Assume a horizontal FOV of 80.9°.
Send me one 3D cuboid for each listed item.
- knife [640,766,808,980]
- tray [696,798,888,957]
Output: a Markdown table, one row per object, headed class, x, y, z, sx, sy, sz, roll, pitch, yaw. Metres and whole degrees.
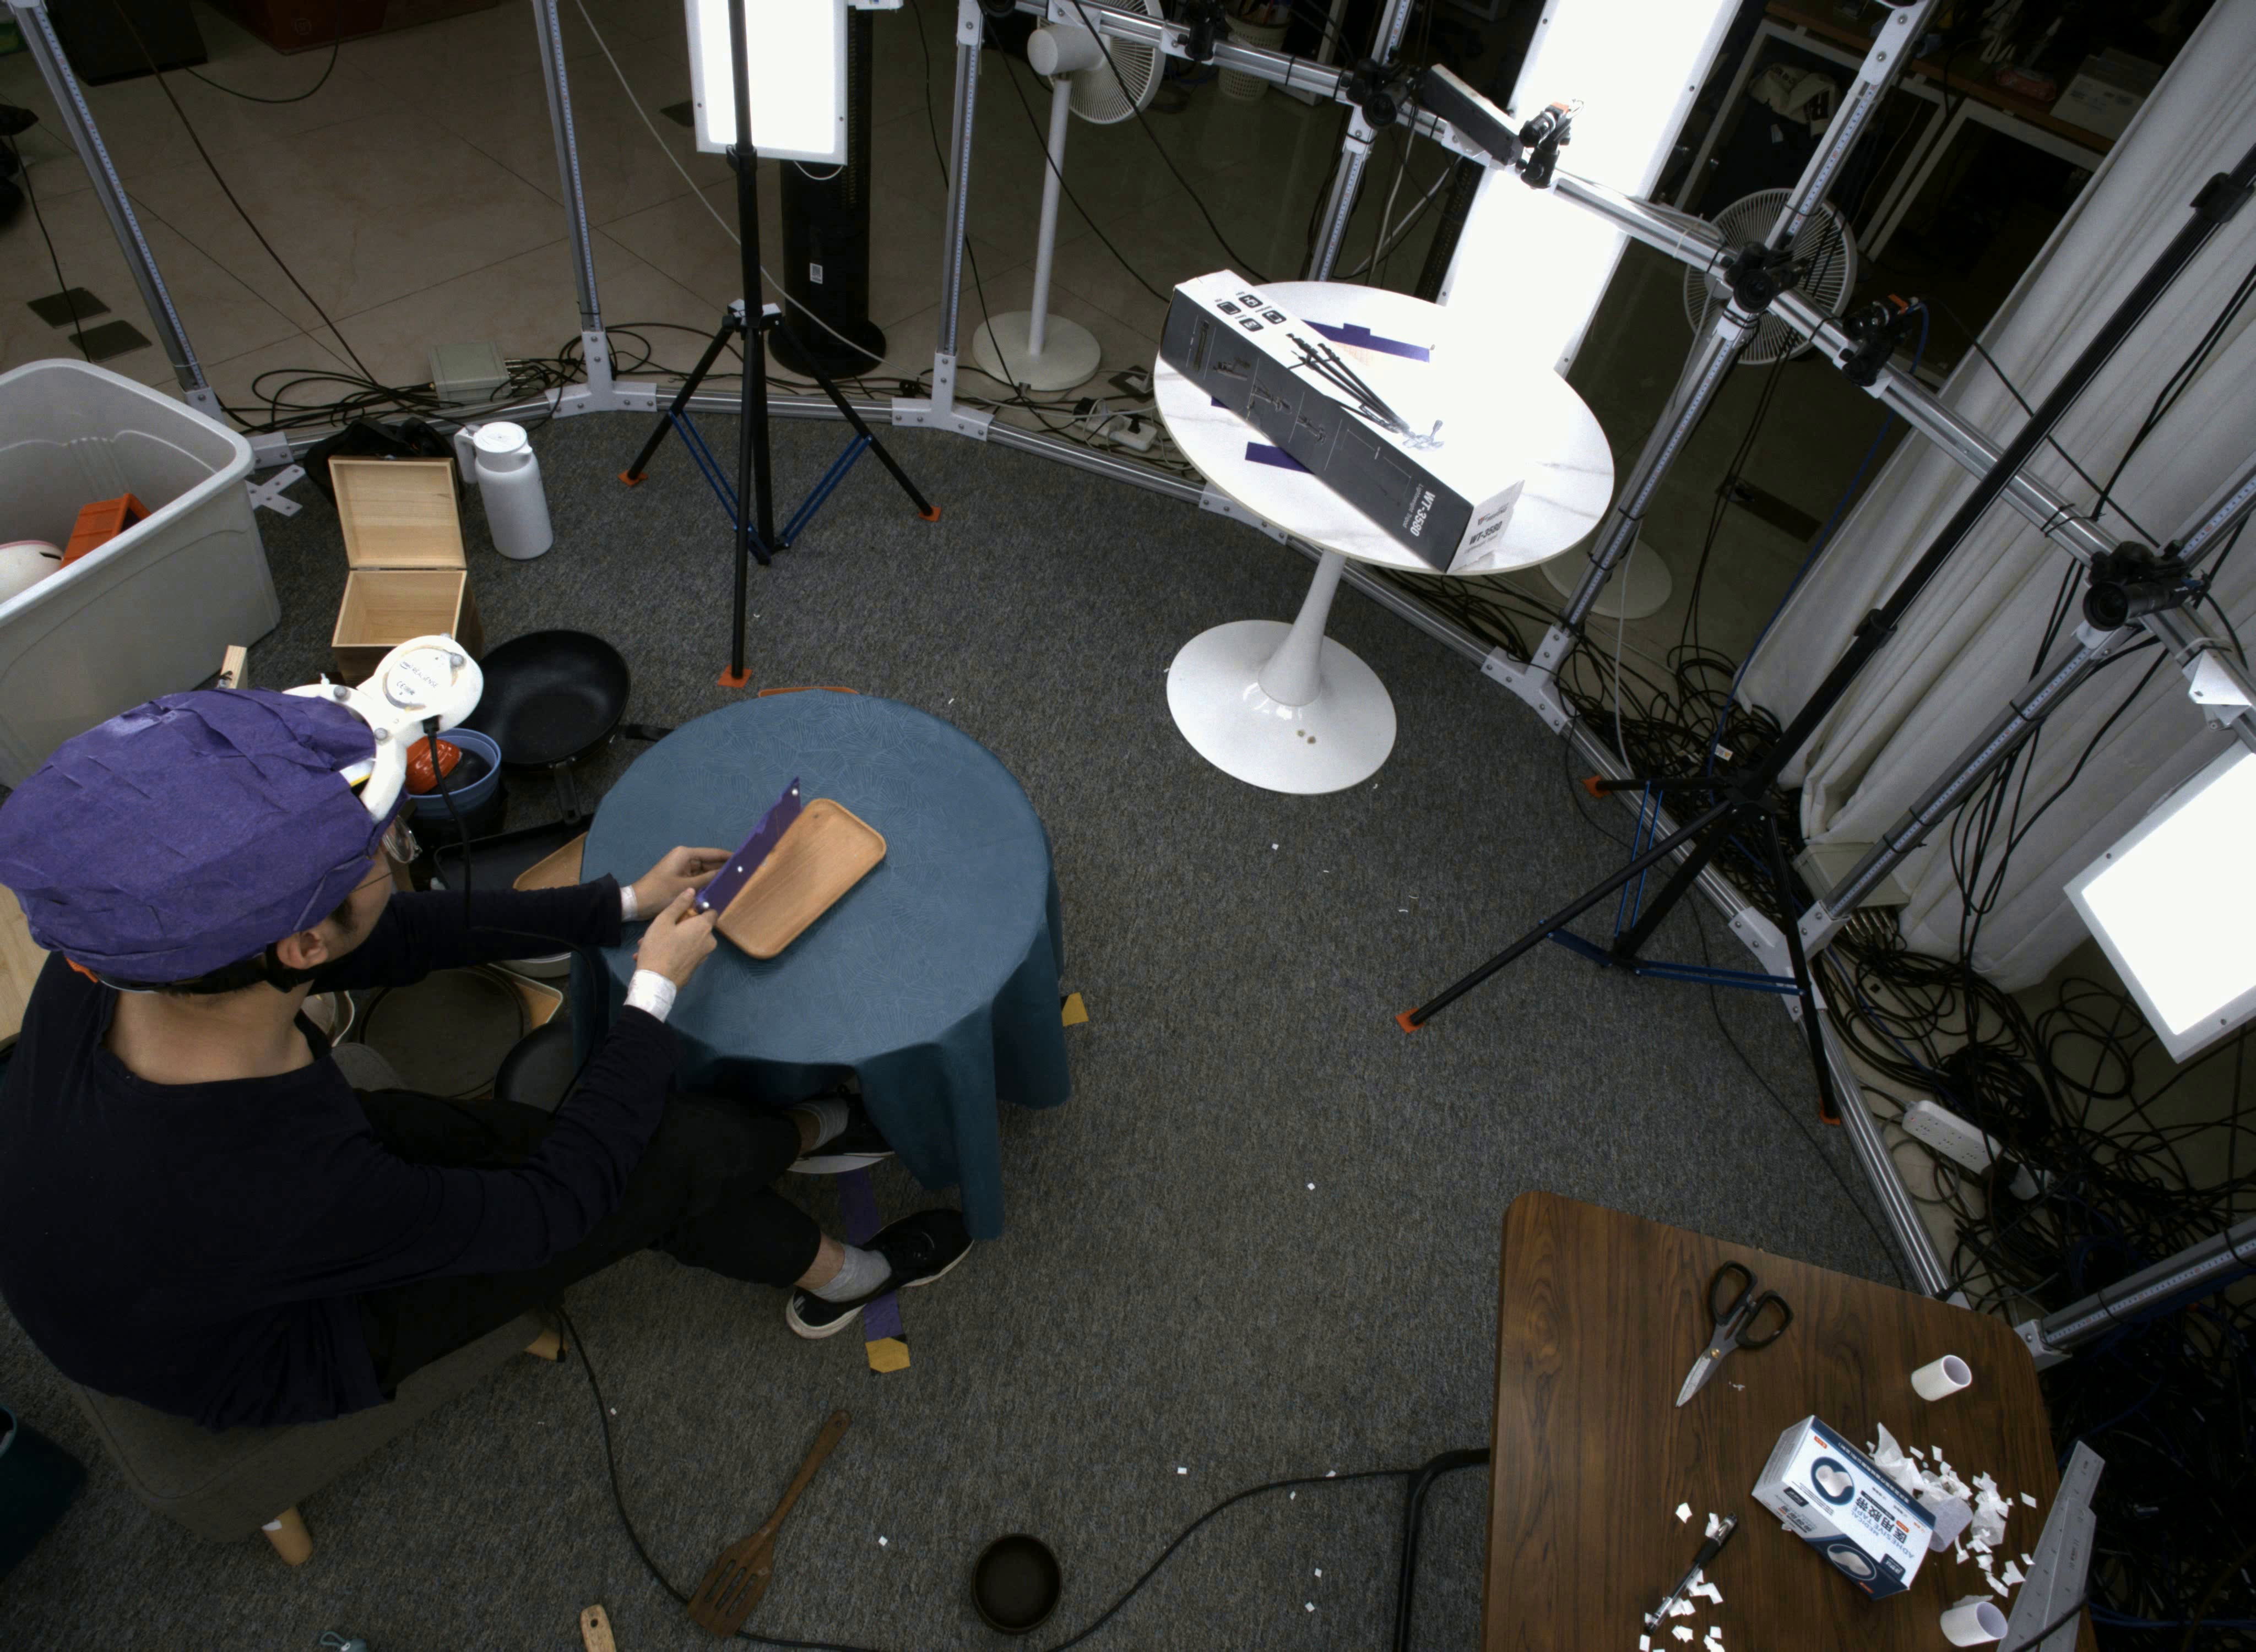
| class | x | y | z | sx | sy | sz | roll | pitch | yaw |
| --- | --- | --- | --- | --- | --- | --- | --- | --- | --- |
| knife | -0.477 | 0.066 | 1.561 | 0.032 | 0.106 | 0.314 | 27 | 59 | 8 |
| tray | -0.427 | 0.062 | 1.663 | 0.128 | 0.023 | 0.250 | 37 | 51 | 11 |
